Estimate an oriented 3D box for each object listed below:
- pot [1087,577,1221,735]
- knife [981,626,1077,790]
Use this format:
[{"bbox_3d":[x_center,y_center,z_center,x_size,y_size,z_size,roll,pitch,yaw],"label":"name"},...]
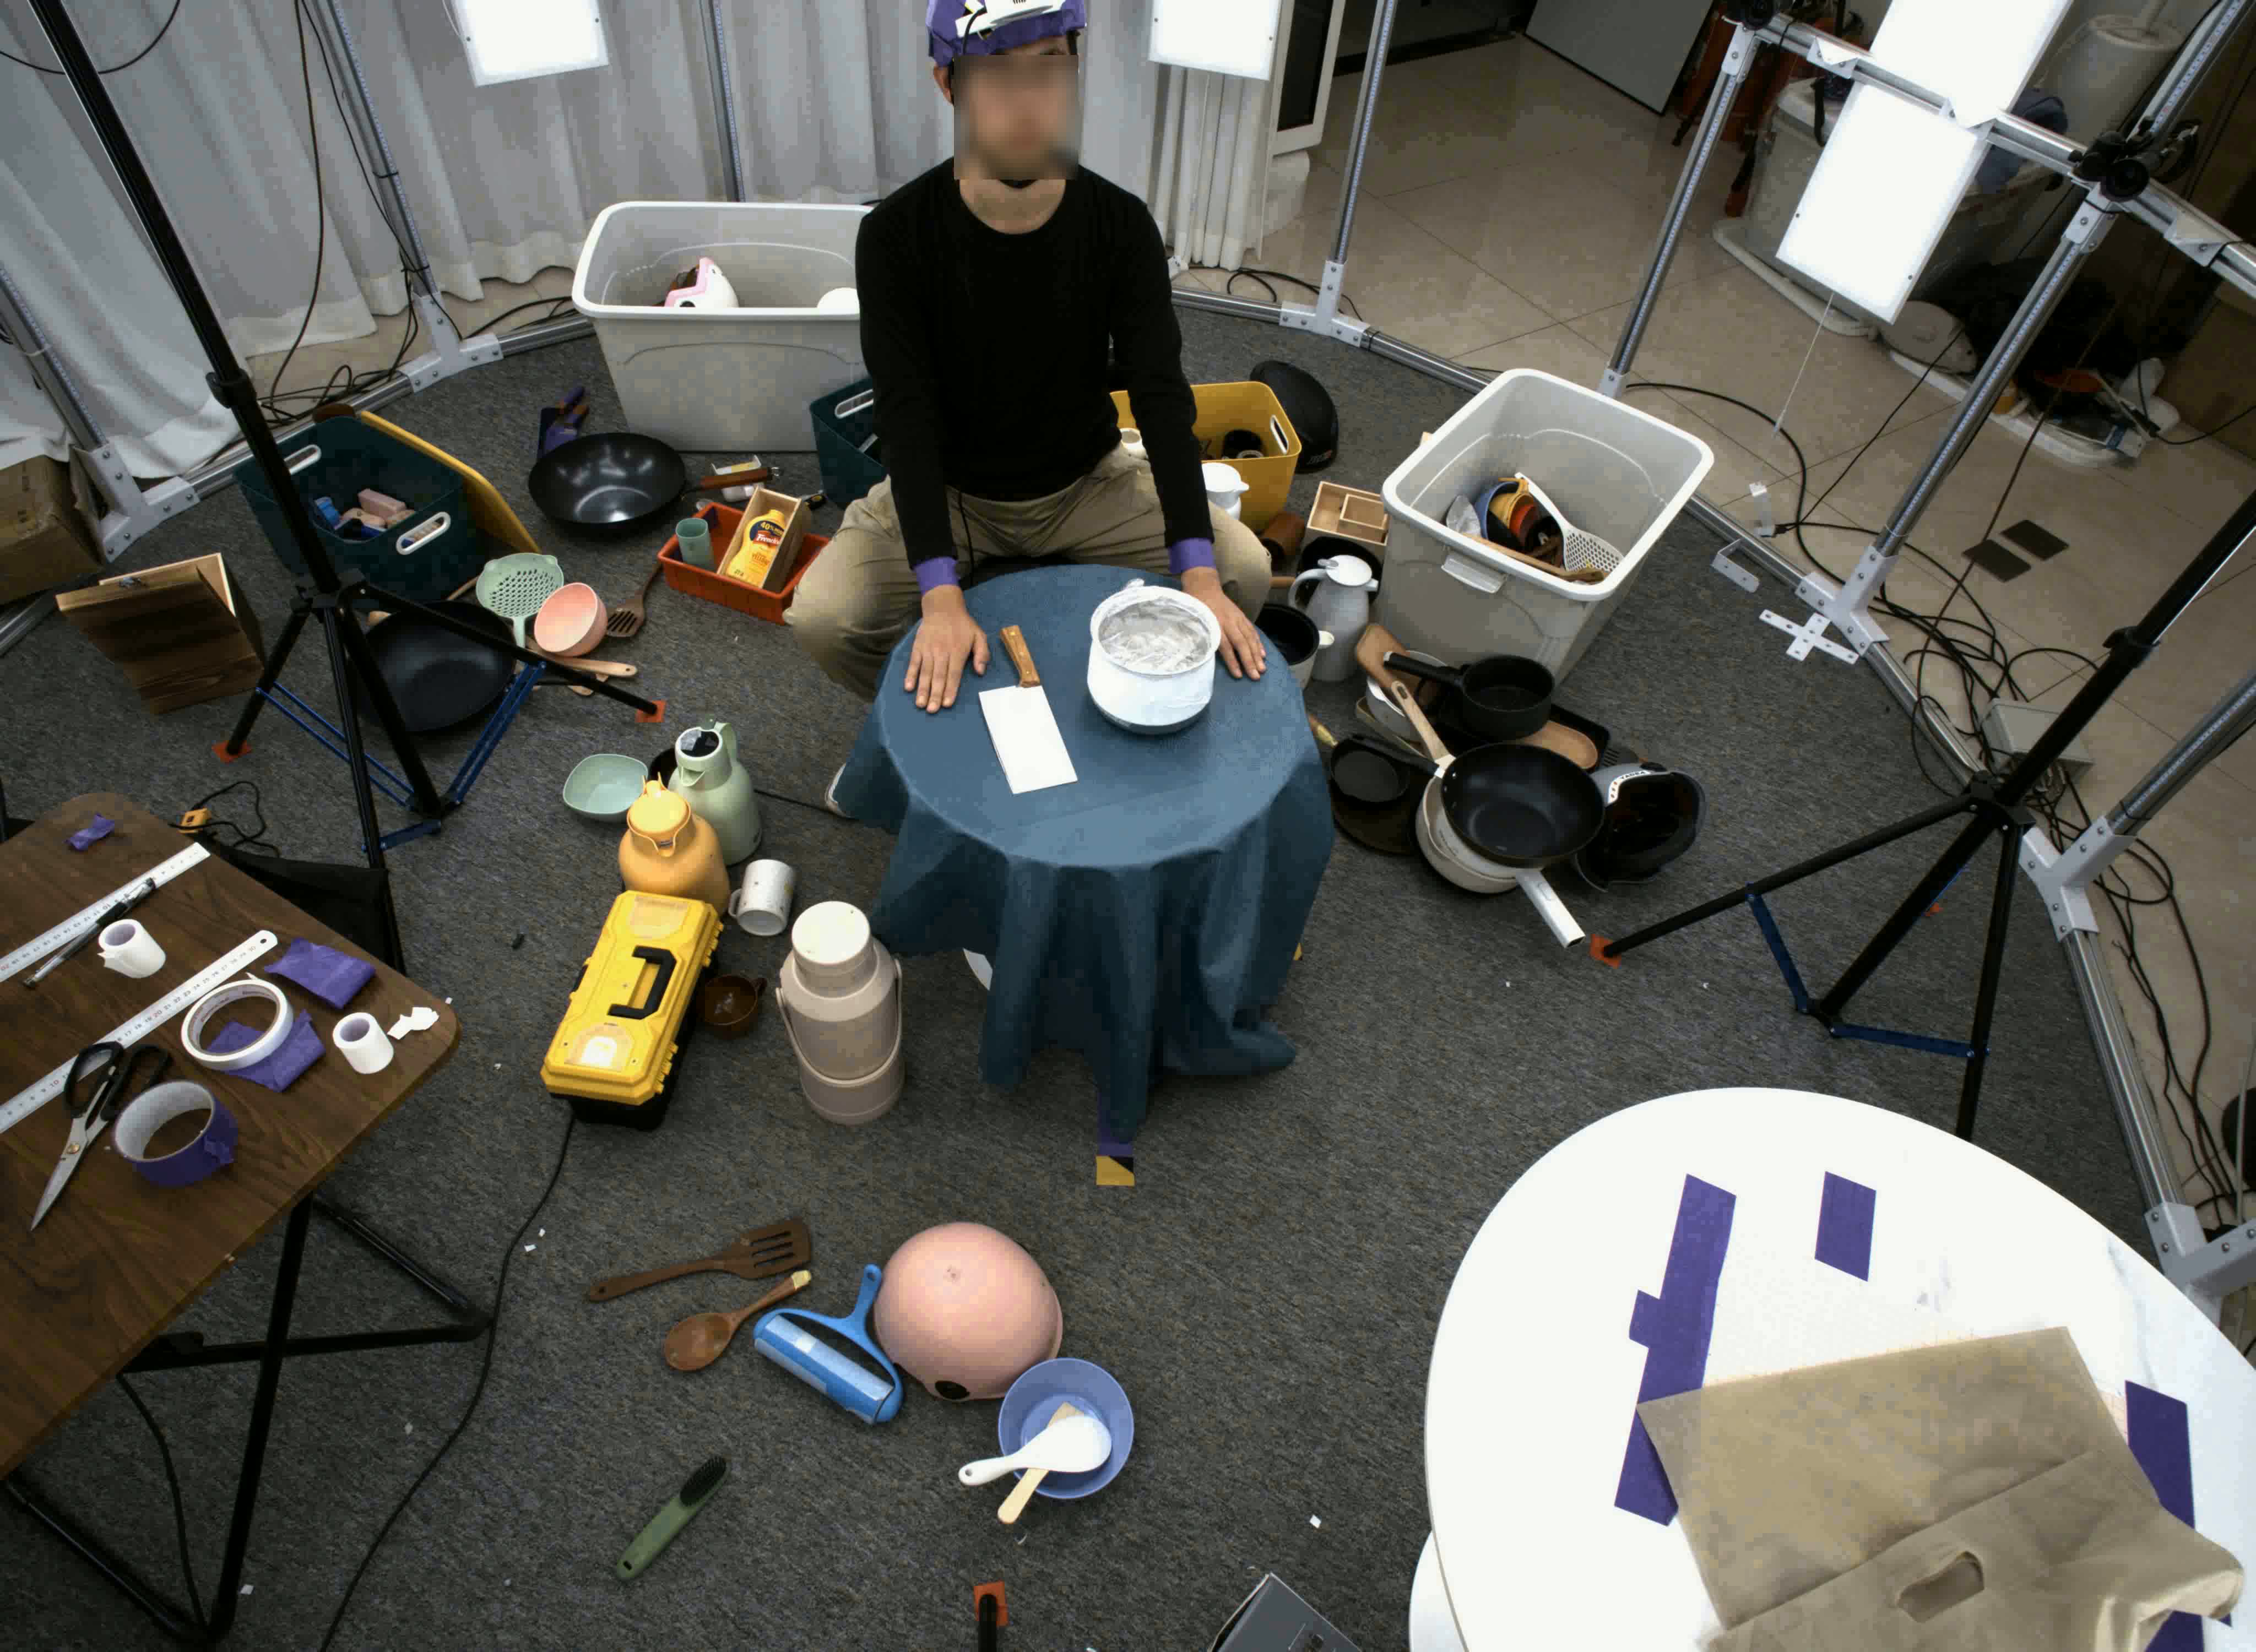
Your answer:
[{"bbox_3d":[0.026,-0.247,1.794,0.178,0.133,0.239,-9,51,-12],"label":"pot"},{"bbox_3d":[-0.153,-0.168,1.797,0.093,0.020,0.313,-11,52,-14],"label":"knife"}]
